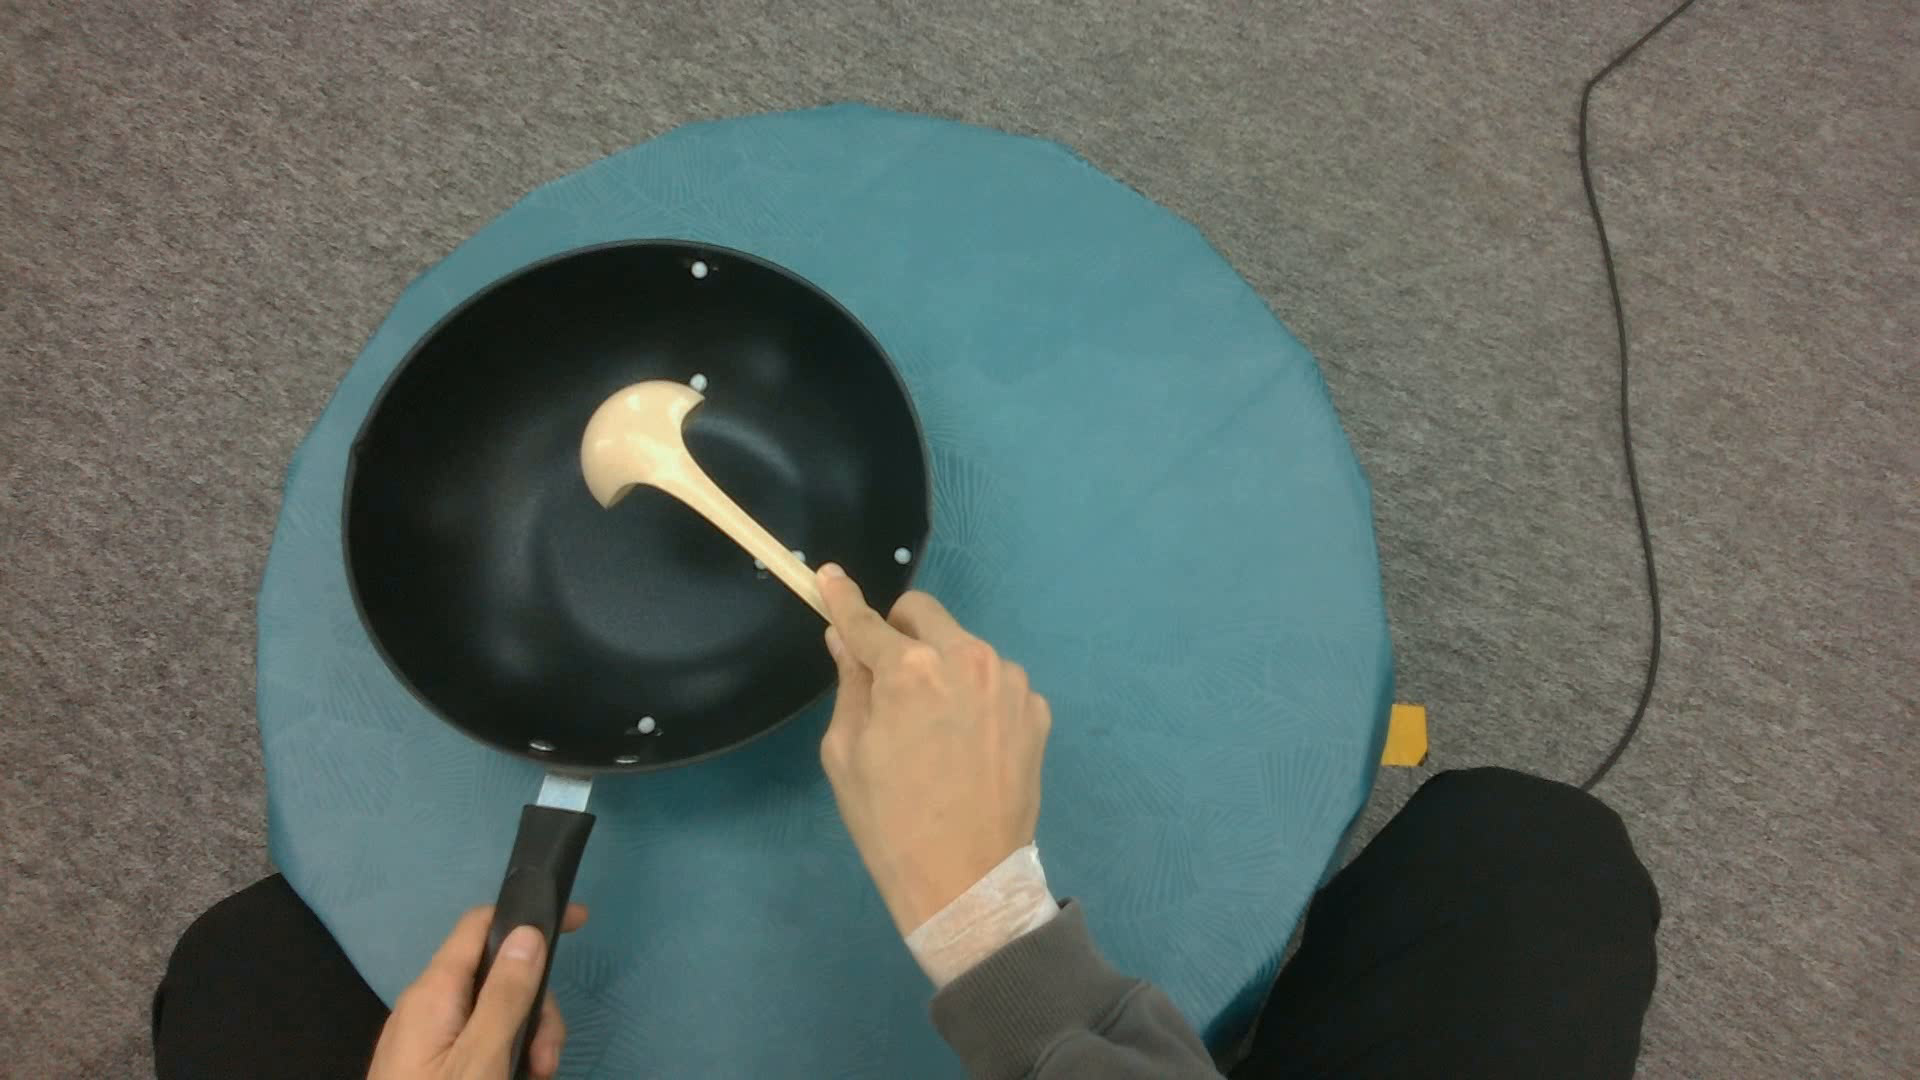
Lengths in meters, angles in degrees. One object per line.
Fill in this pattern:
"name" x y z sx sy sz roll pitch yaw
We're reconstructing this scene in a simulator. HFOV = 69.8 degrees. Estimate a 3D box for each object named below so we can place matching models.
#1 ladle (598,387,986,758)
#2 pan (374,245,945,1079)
"ladle" -0.075 0.020 0.655 0.254 0.072 0.072 42 84 19
"pan" -0.165 0.074 0.690 0.288 0.086 0.464 9 71 3
